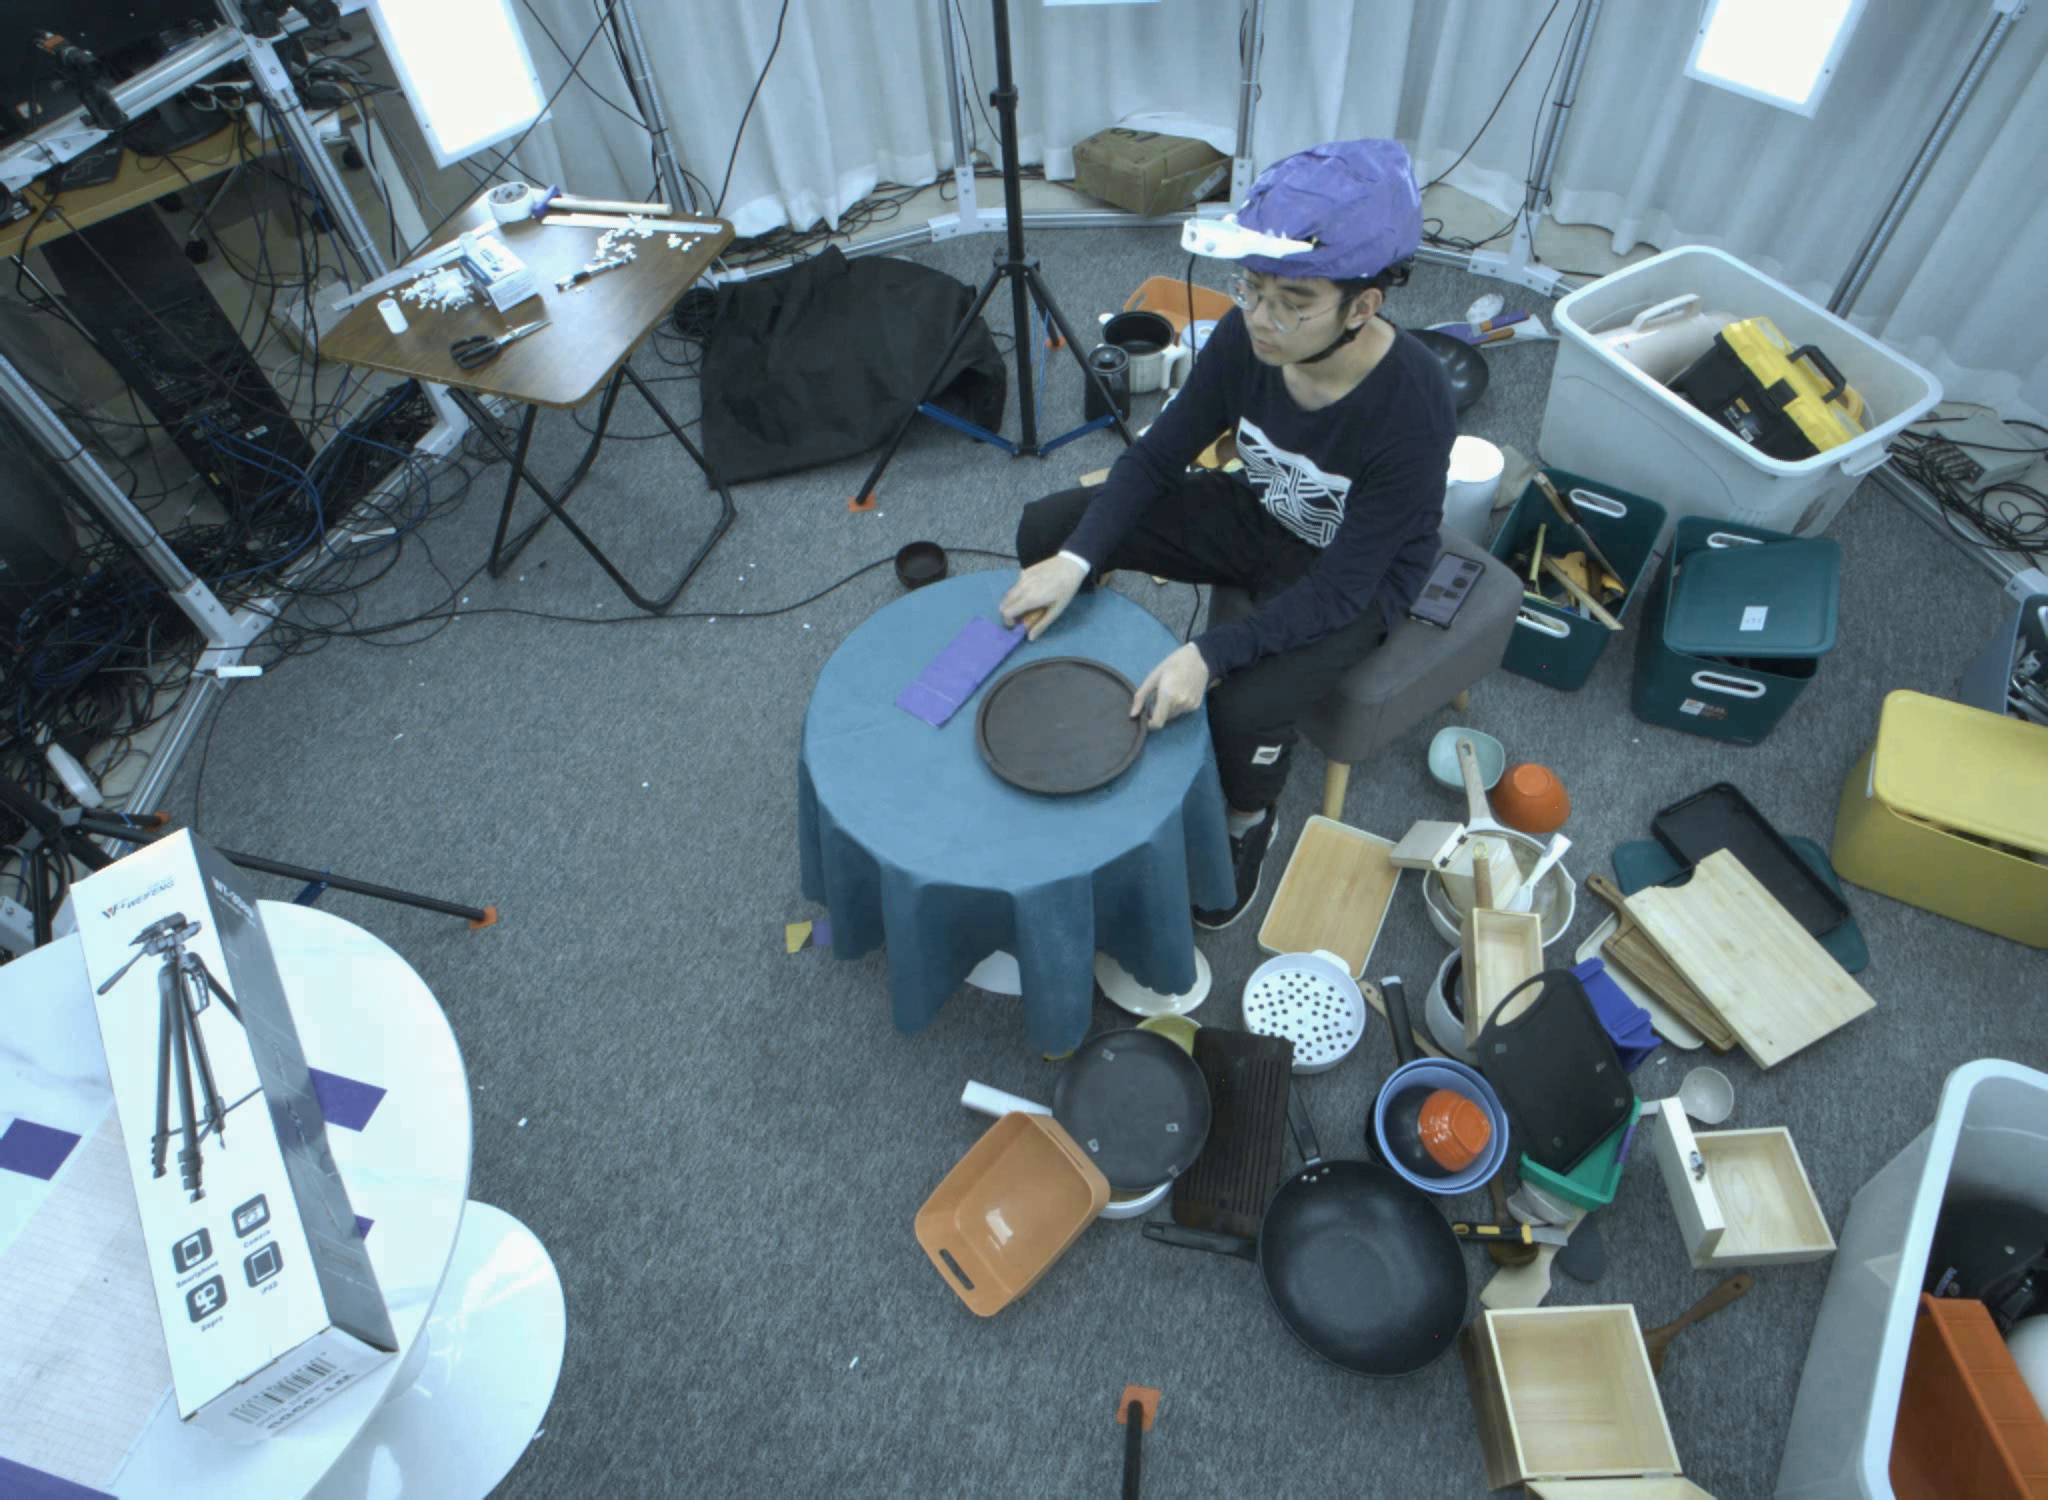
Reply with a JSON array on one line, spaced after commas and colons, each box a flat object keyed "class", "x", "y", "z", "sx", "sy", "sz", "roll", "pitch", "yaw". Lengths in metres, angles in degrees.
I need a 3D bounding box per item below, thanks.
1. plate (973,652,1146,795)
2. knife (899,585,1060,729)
[{"class": "plate", "x": 0.052, "y": -0.038, "z": 1.805, "sx": 0.254, "sy": 0.029, "sz": 0.252, "roll": -1, "pitch": 55, "yaw": 2}, {"class": "knife", "x": -0.069, "y": -0.160, "z": 1.894, "sx": 0.102, "sy": 0.032, "sz": 0.317, "roll": 30, "pitch": 61, "yaw": 21}]
